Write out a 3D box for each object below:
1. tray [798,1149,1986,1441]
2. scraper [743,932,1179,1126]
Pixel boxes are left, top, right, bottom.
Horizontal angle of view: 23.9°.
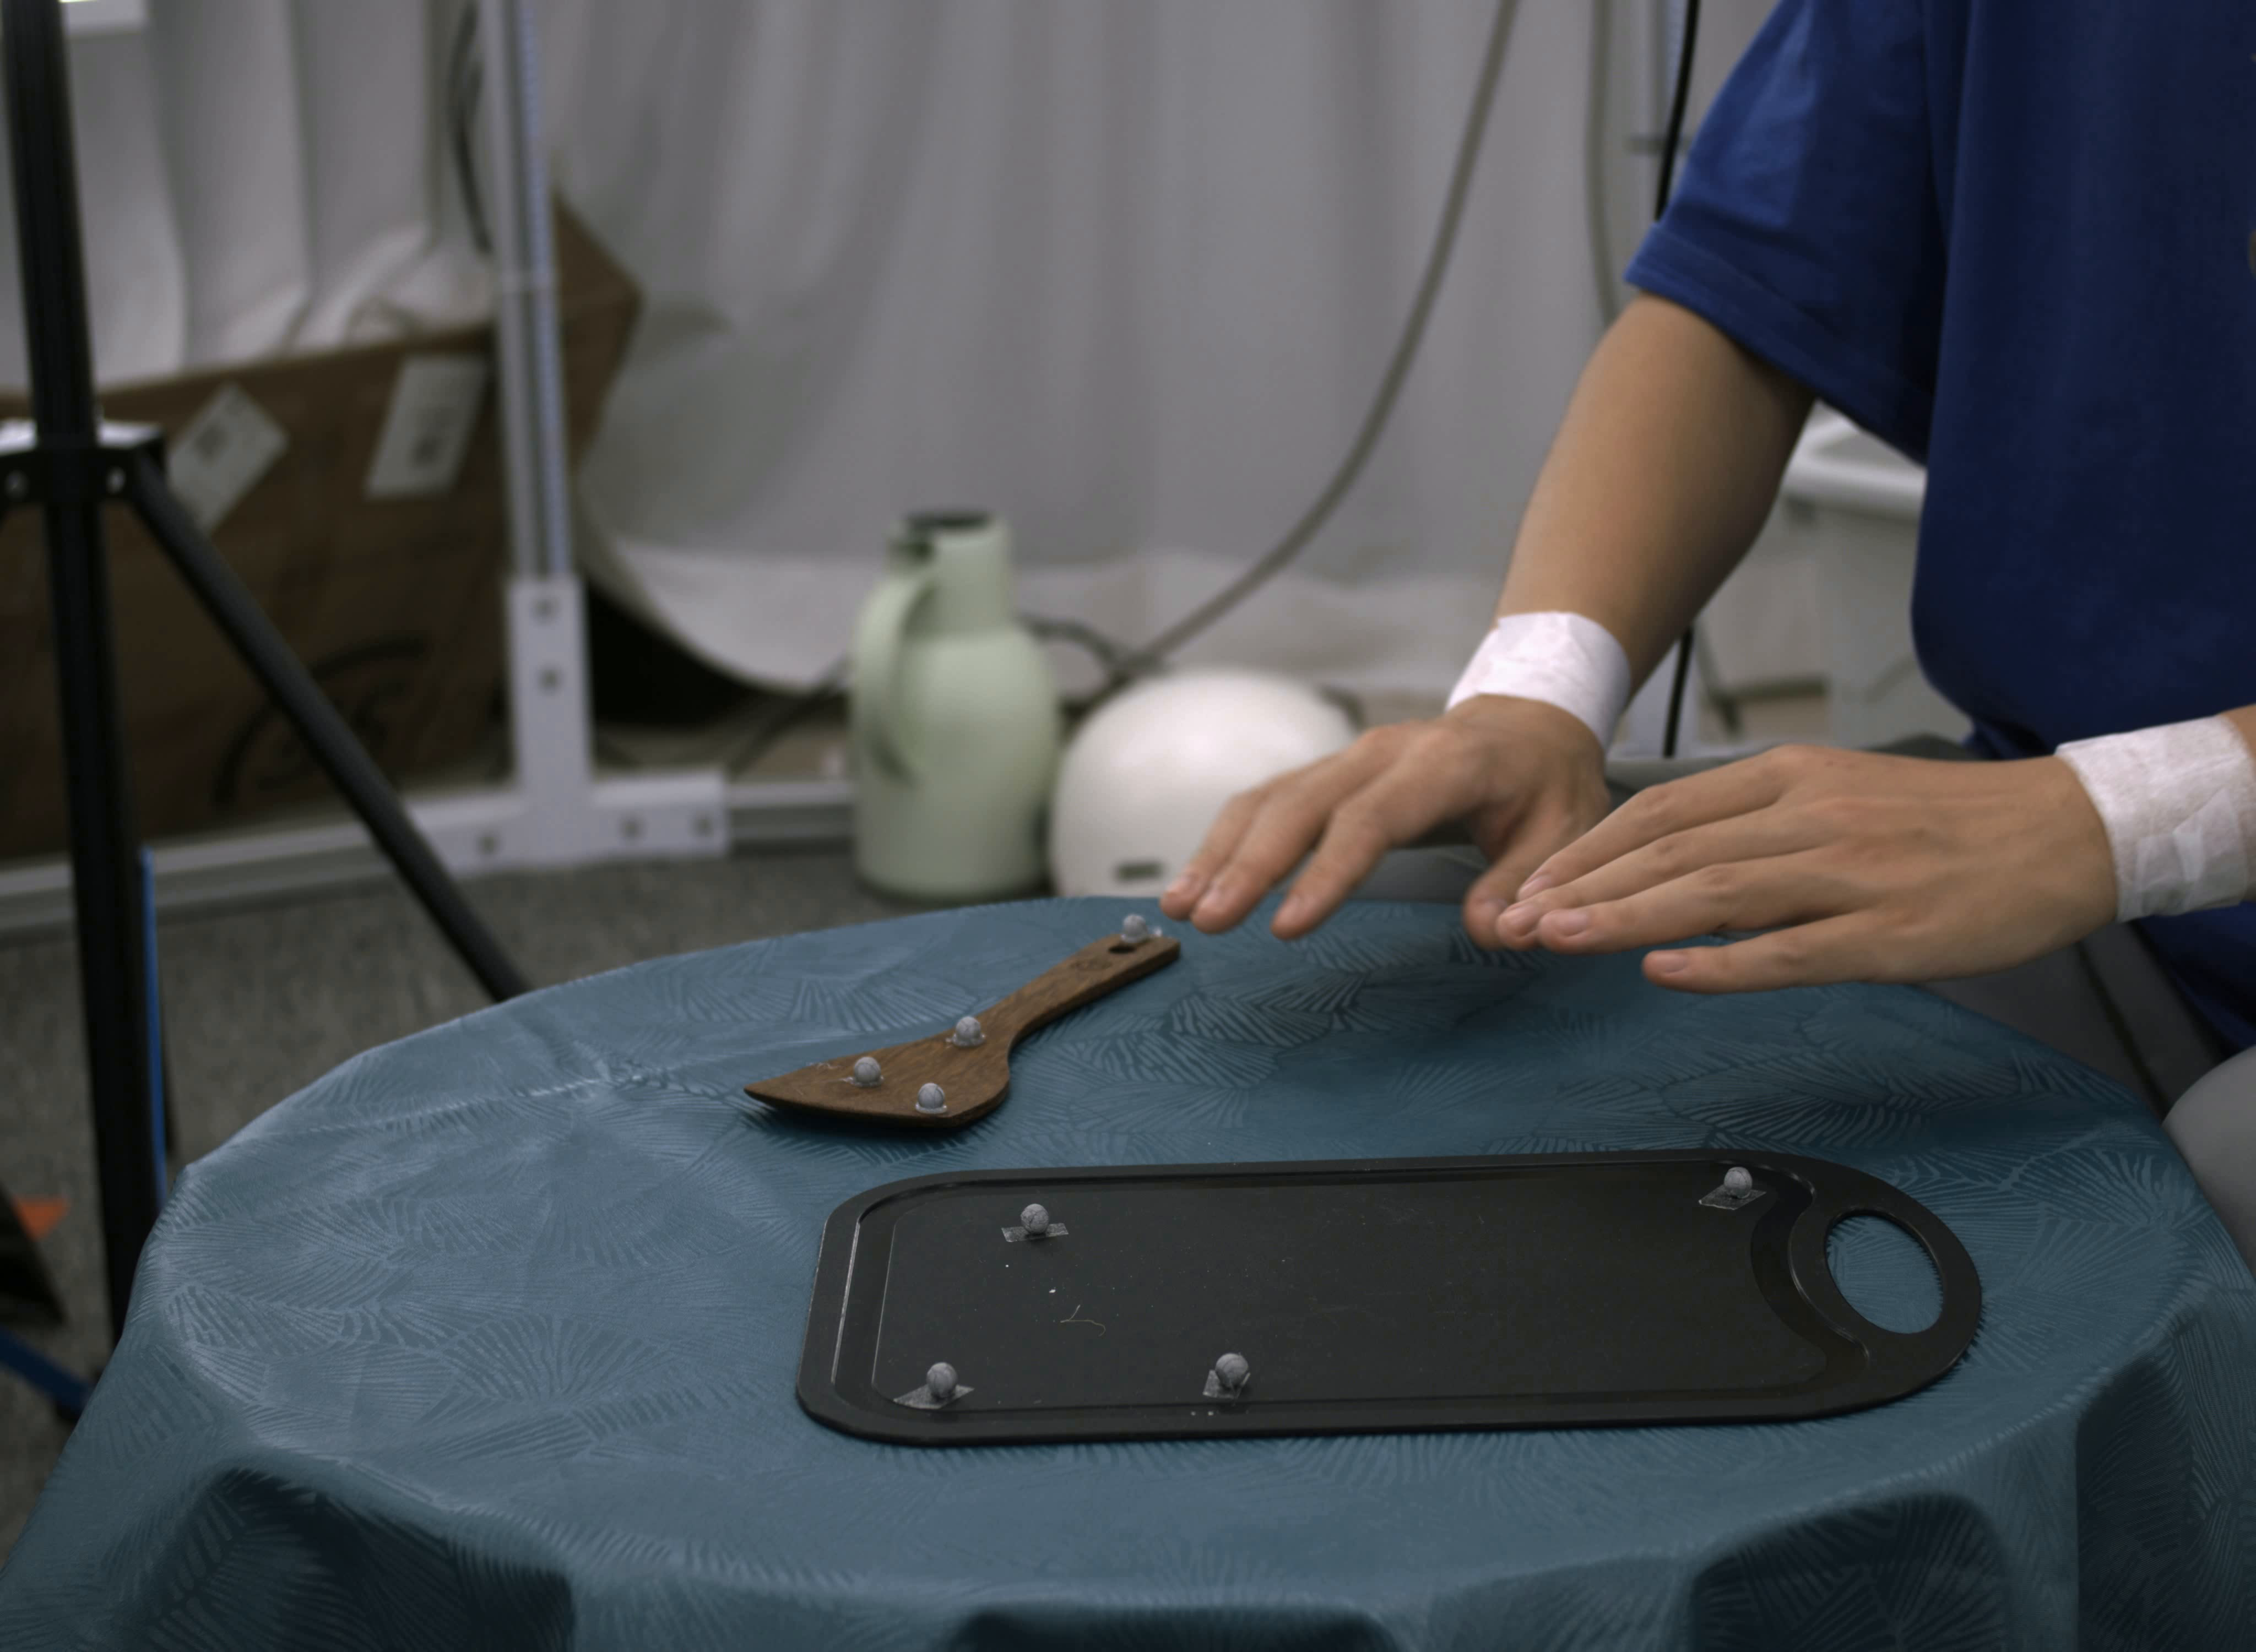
[{"bbox_3d":[0.074,0.126,1.469,0.325,0.010,0.211,-2,16,3],"label":"tray"},{"bbox_3d":[-0.041,0.064,1.704,0.077,0.011,0.207,7,18,28],"label":"scraper"}]
